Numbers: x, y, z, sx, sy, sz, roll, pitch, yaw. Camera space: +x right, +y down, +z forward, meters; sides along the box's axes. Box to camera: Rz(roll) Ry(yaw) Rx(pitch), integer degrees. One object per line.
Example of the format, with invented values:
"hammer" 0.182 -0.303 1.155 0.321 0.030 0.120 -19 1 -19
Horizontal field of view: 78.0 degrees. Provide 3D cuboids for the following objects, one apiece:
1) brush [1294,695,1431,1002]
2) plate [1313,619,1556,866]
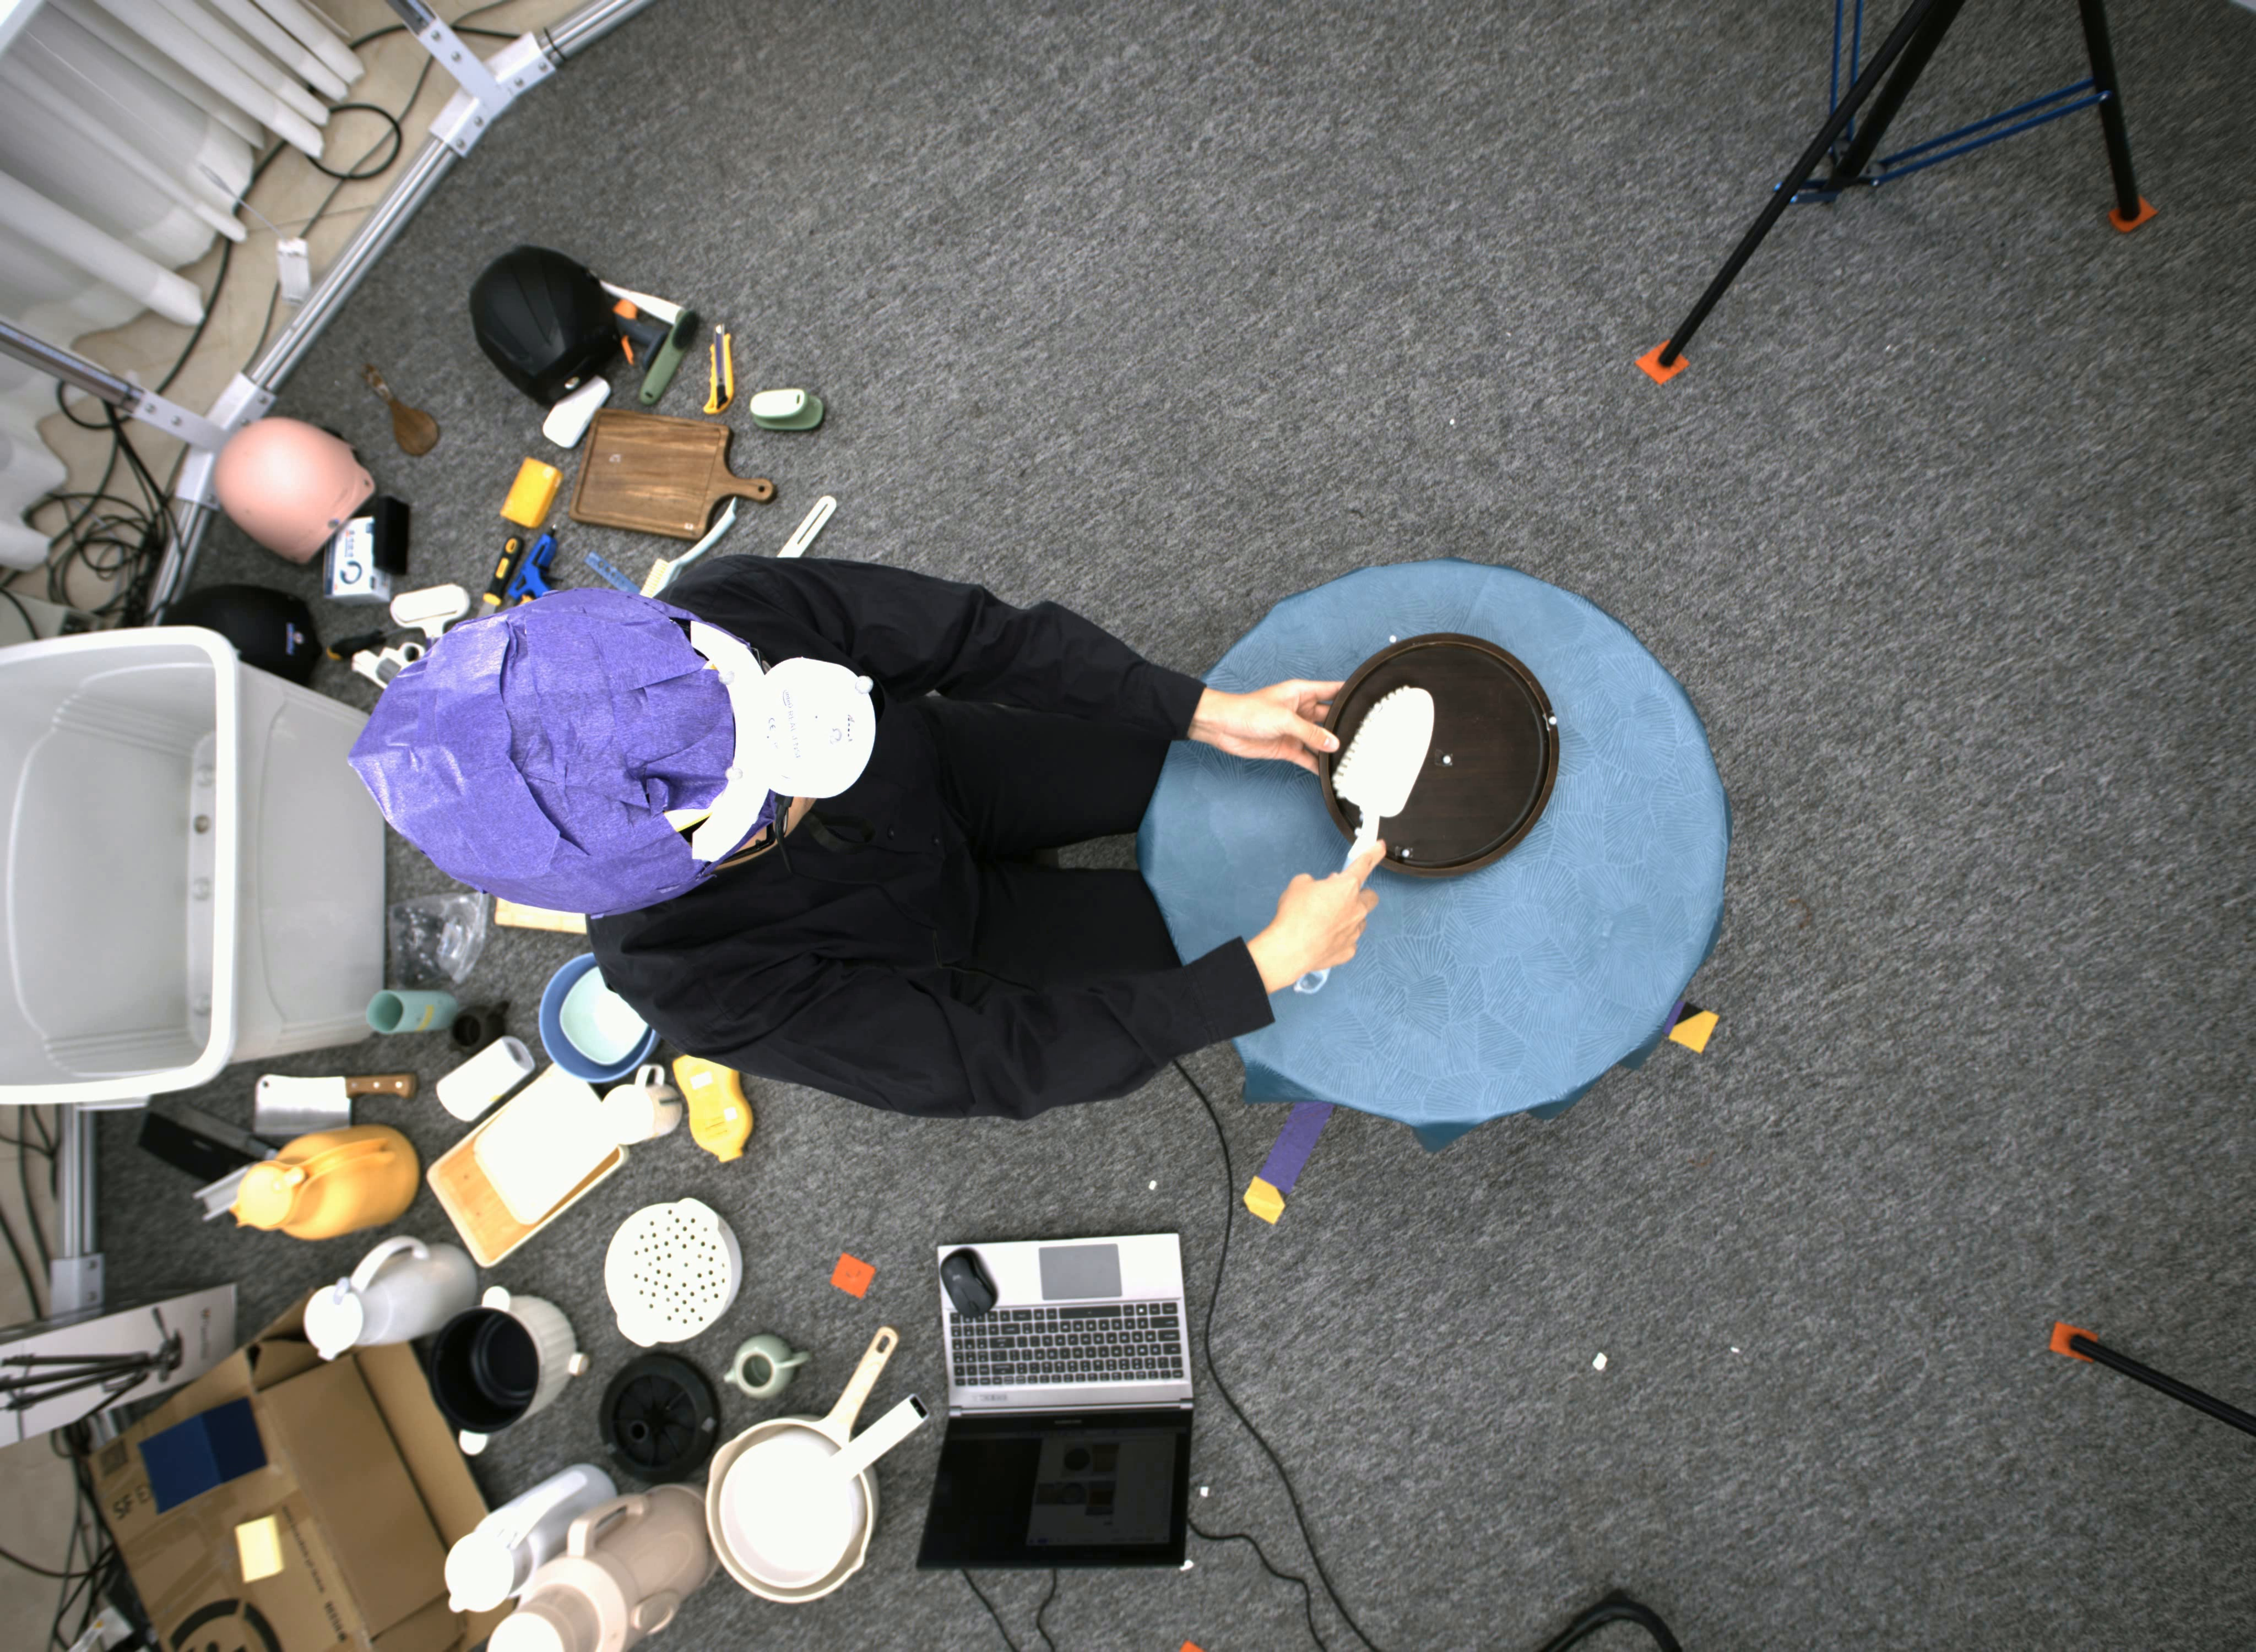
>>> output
"brush" 0.218 0.018 1.369 0.083 0.085 0.323 20 84 28
"plate" 0.312 -0.086 1.400 0.255 0.028 0.258 -1 105 -4
